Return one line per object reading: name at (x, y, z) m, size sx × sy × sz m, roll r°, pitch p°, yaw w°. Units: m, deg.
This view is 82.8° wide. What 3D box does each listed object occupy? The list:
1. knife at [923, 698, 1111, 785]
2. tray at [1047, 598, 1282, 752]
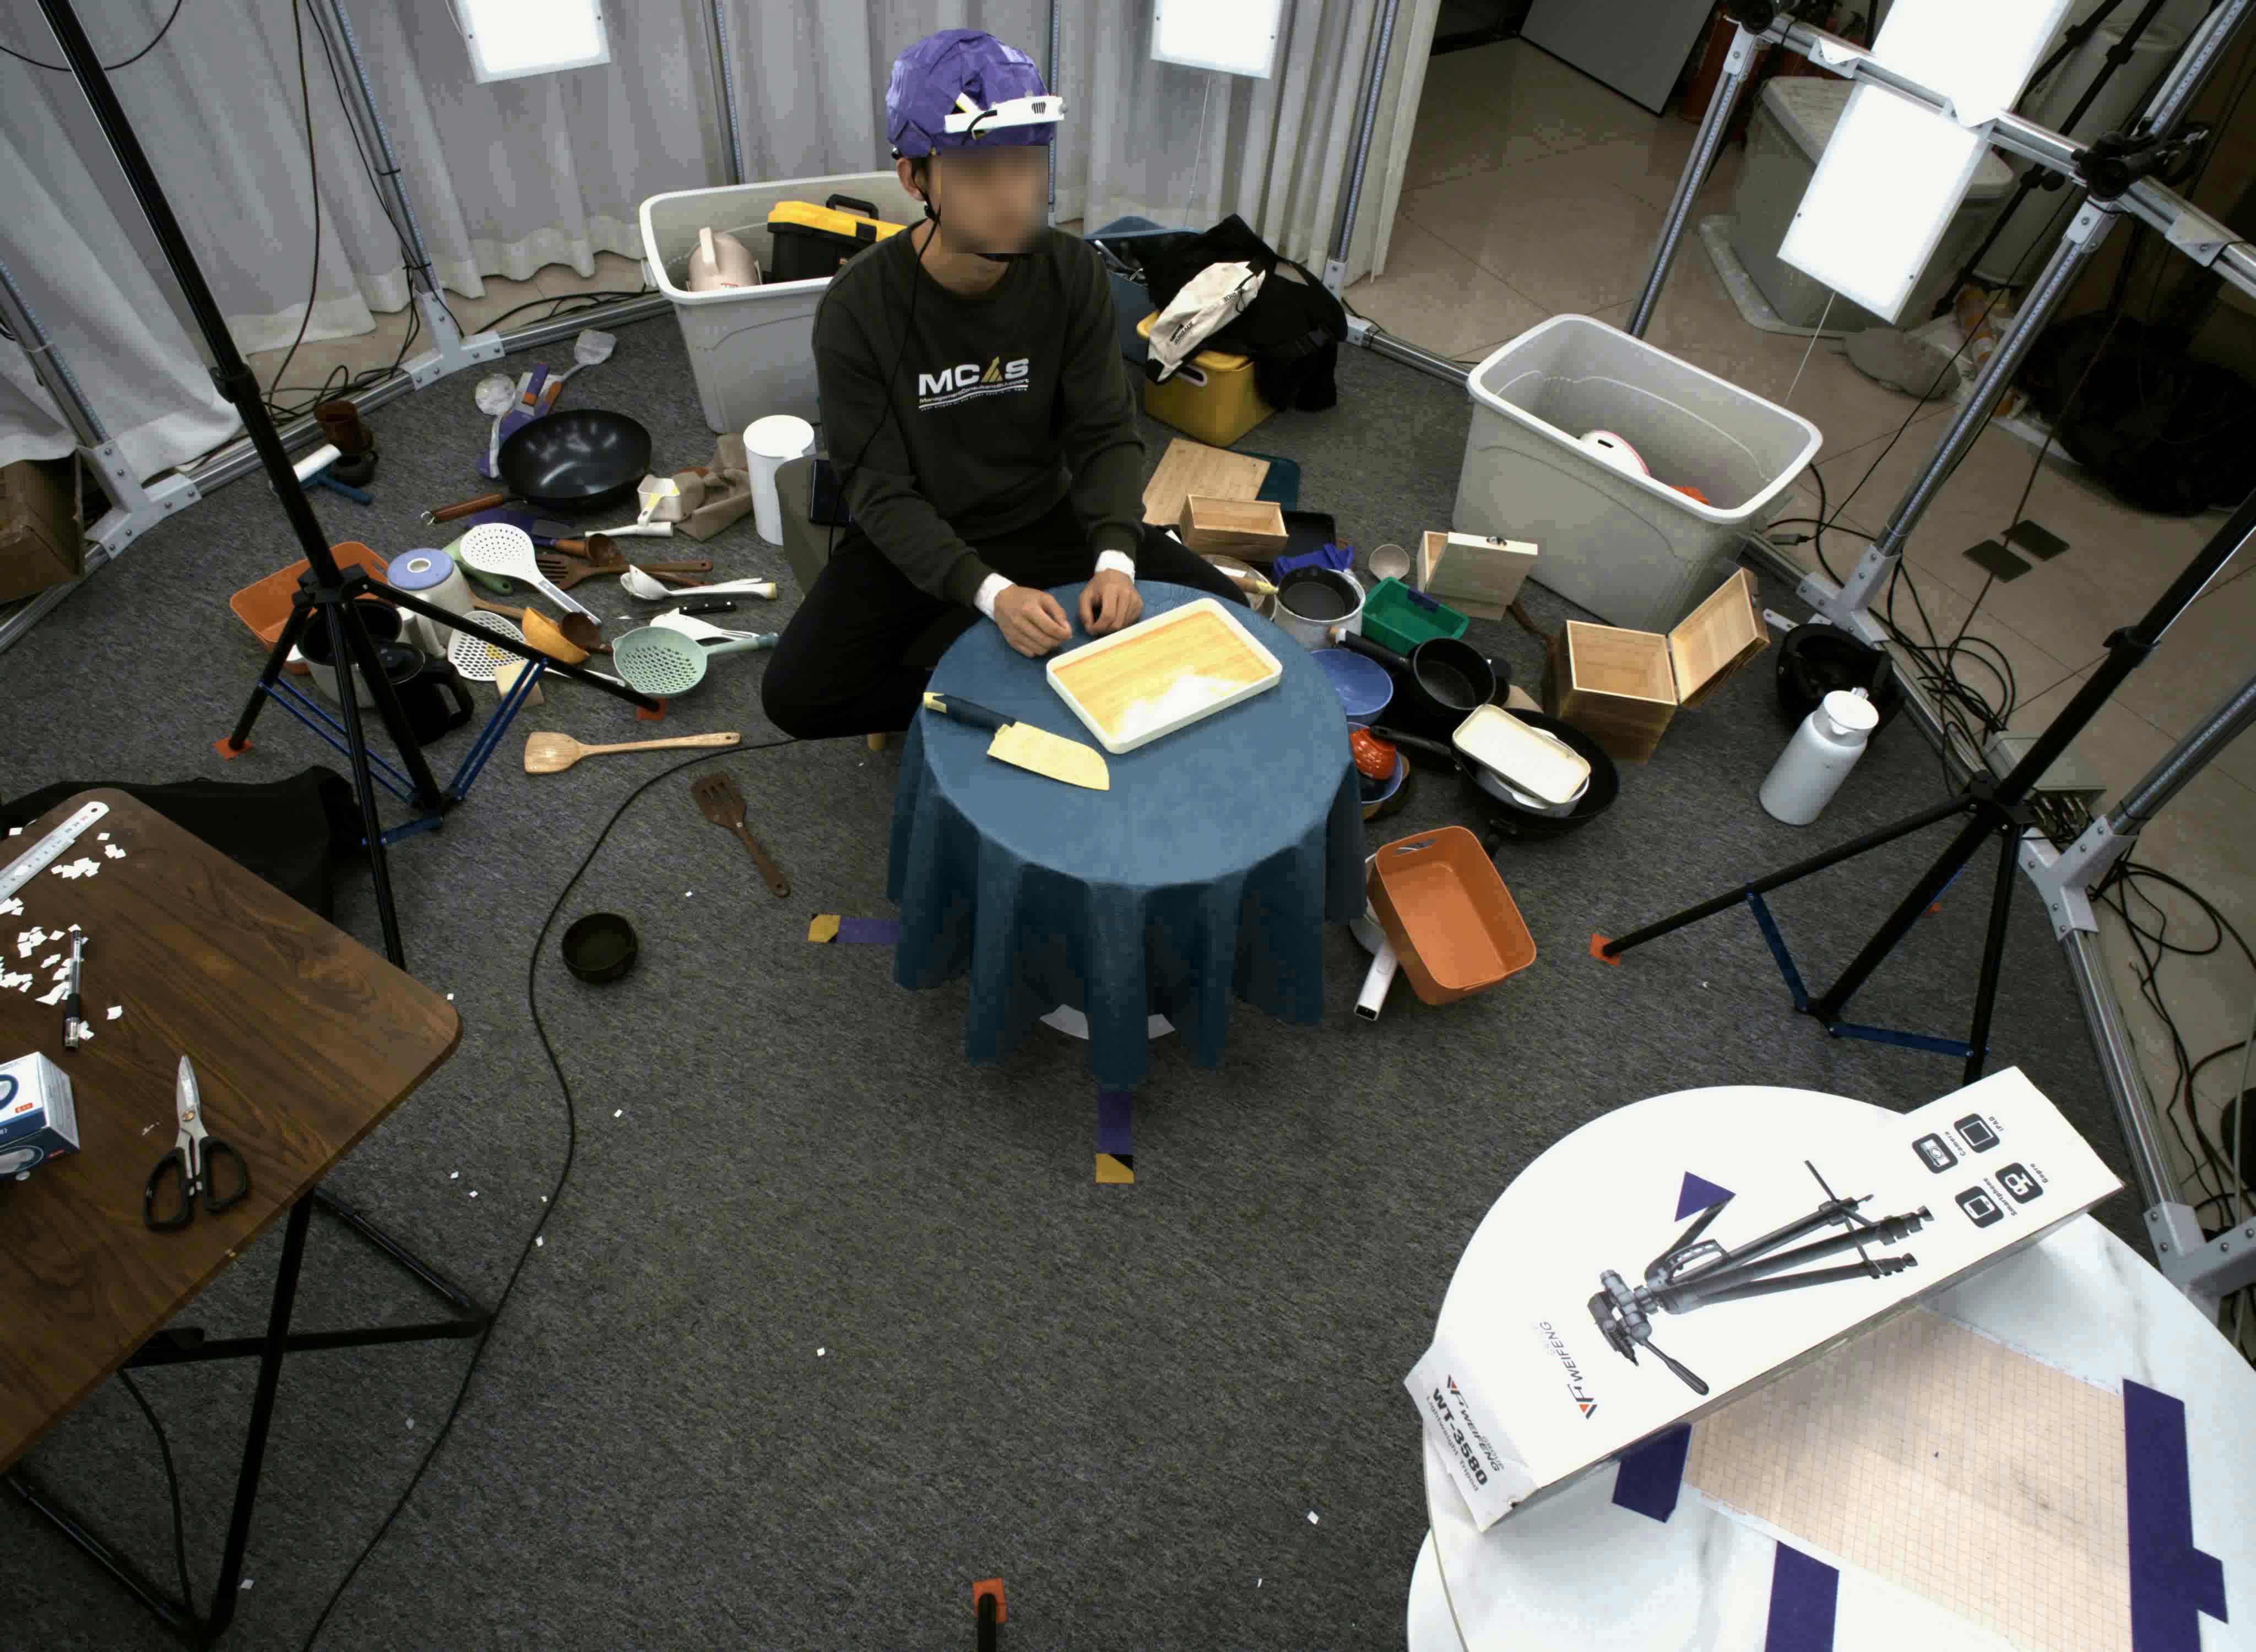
knife at (-0.155, -0.115, 1.747) m, size 0.291 × 0.026 × 0.082 m, roll 21°, pitch 49°, yaw 13°
tray at (0.053, -0.222, 1.846) m, size 0.301 × 0.027 × 0.195 m, roll -25°, pitch 54°, yaw -23°
